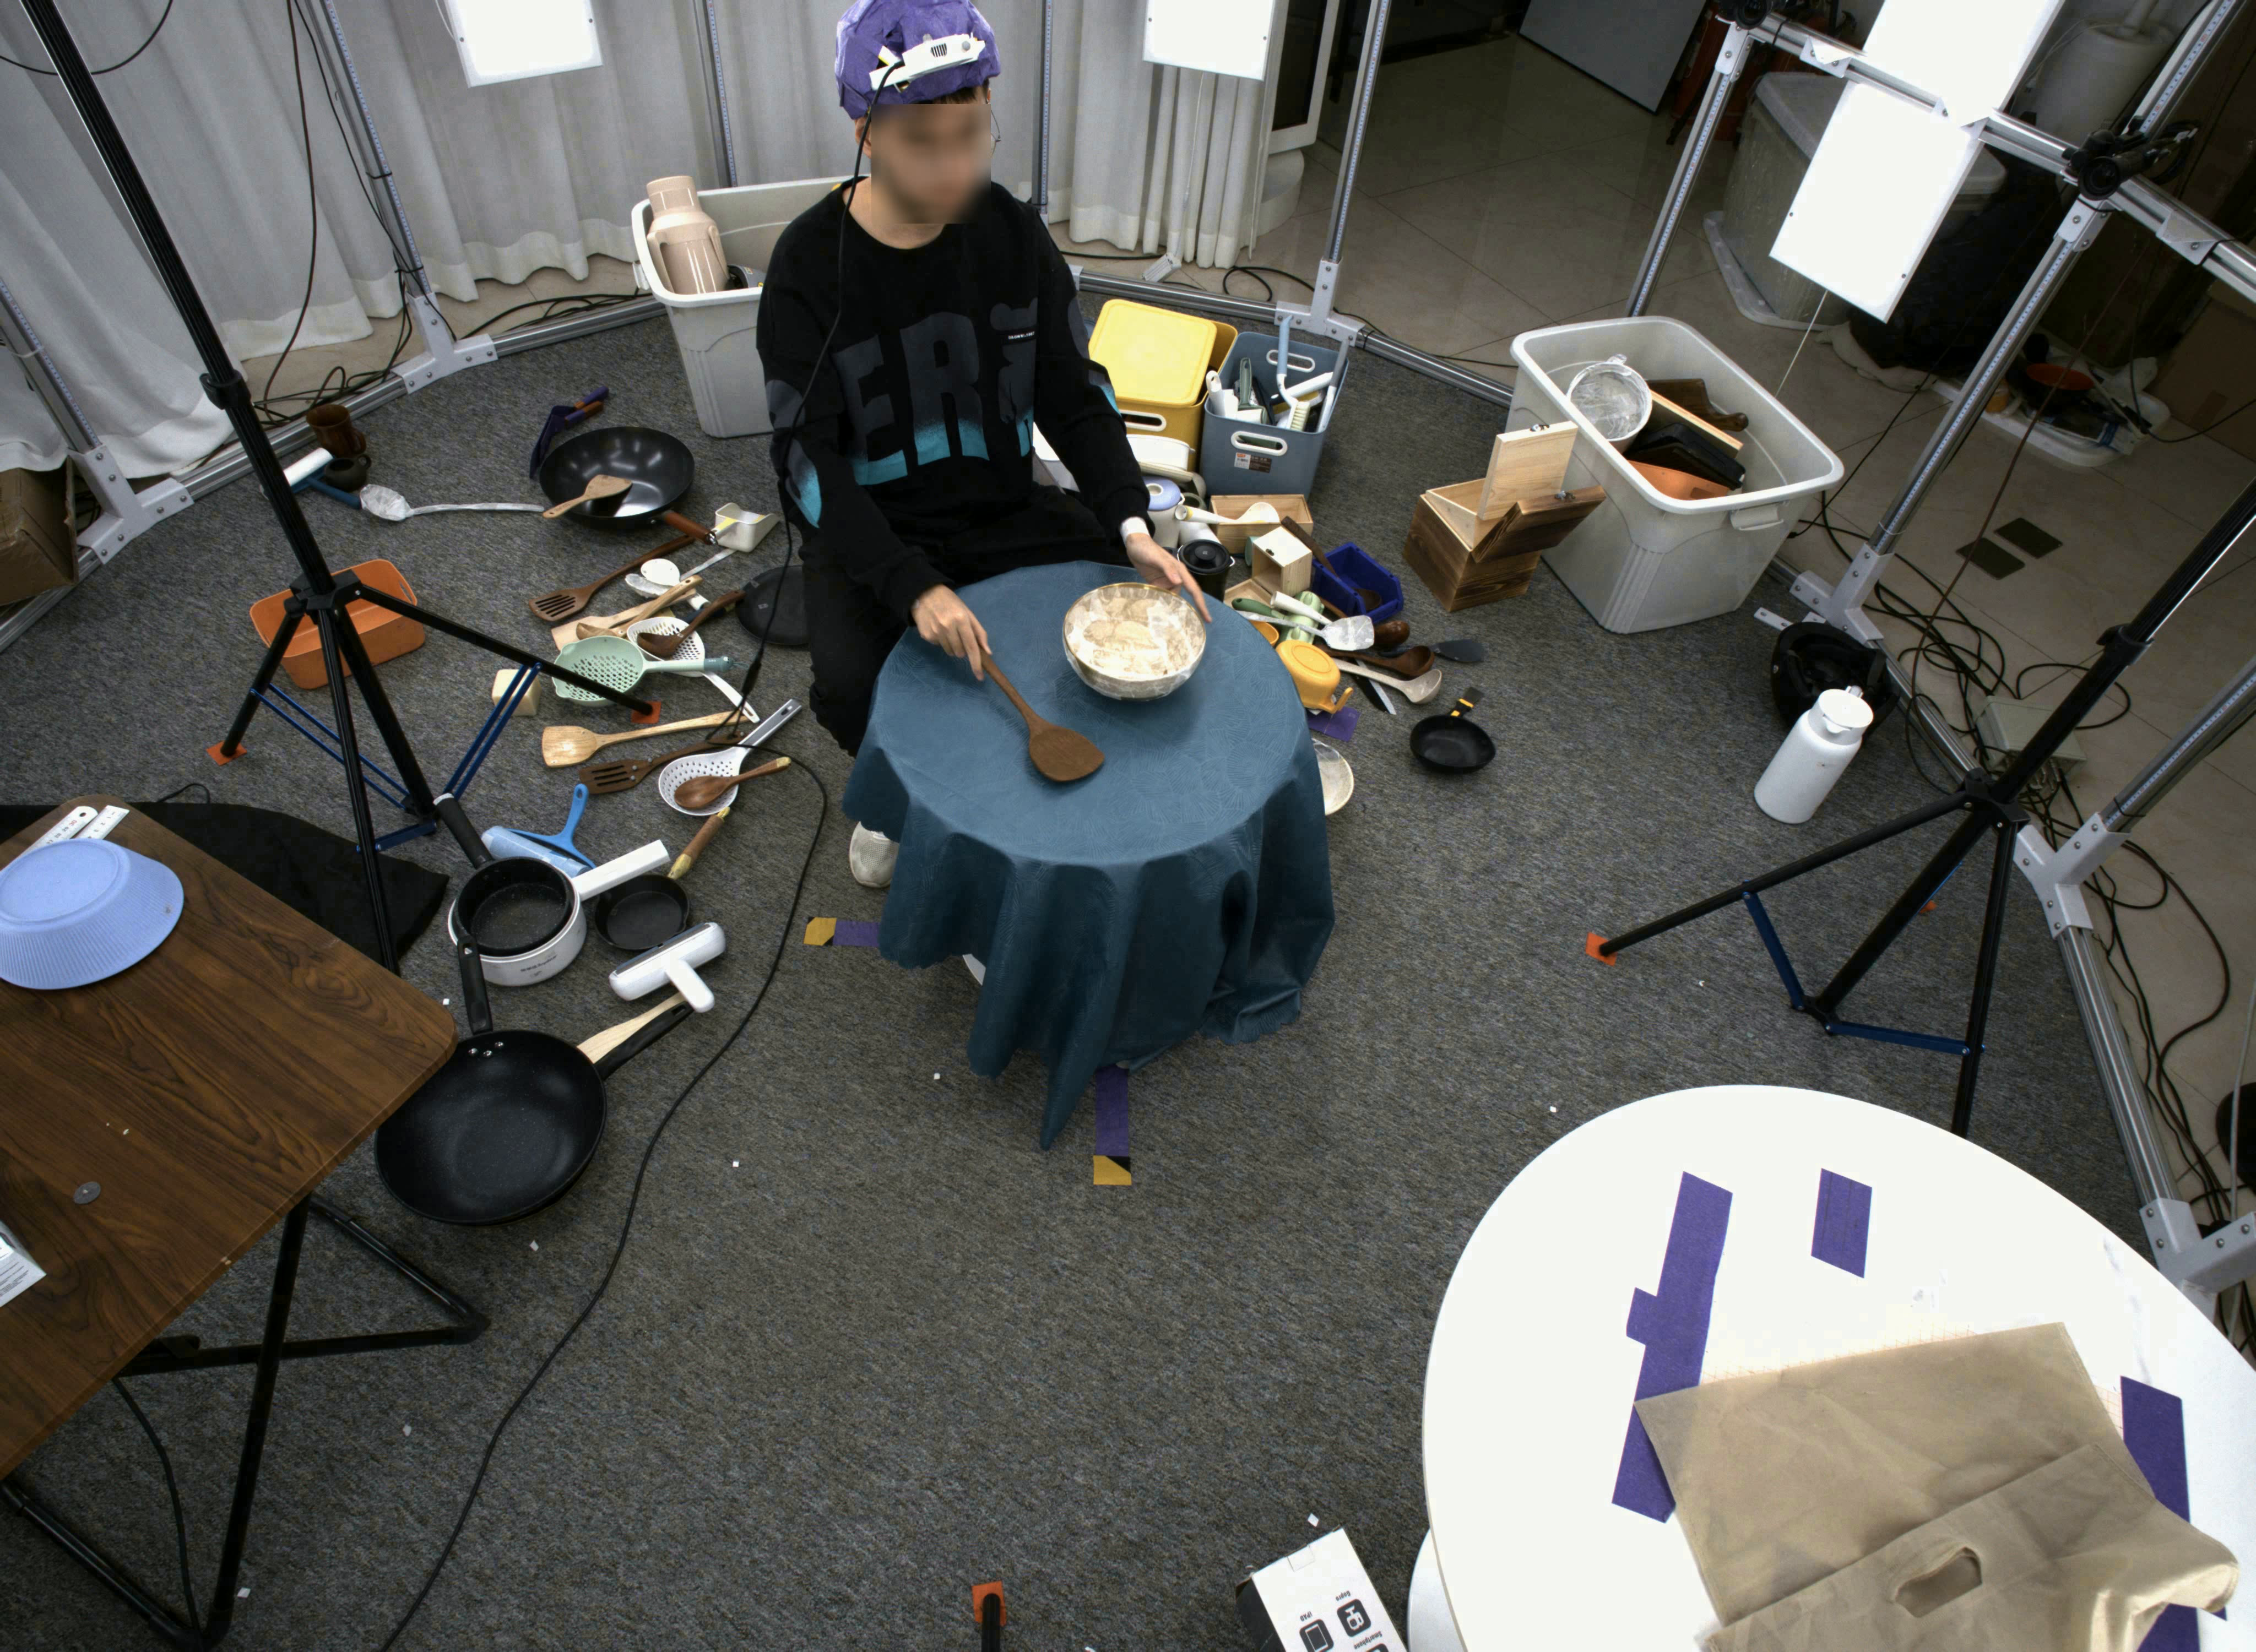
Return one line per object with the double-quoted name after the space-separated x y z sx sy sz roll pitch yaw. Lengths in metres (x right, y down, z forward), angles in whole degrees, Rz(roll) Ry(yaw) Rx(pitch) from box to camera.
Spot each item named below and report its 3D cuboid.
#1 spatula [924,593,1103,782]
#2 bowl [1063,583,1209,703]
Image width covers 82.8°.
-0.177 -0.203 1.800 0.096 0.015 0.392 -25 63 -30 "spatula"
0.010 -0.248 1.840 0.214 0.092 0.220 1 49 -1 "bowl"
